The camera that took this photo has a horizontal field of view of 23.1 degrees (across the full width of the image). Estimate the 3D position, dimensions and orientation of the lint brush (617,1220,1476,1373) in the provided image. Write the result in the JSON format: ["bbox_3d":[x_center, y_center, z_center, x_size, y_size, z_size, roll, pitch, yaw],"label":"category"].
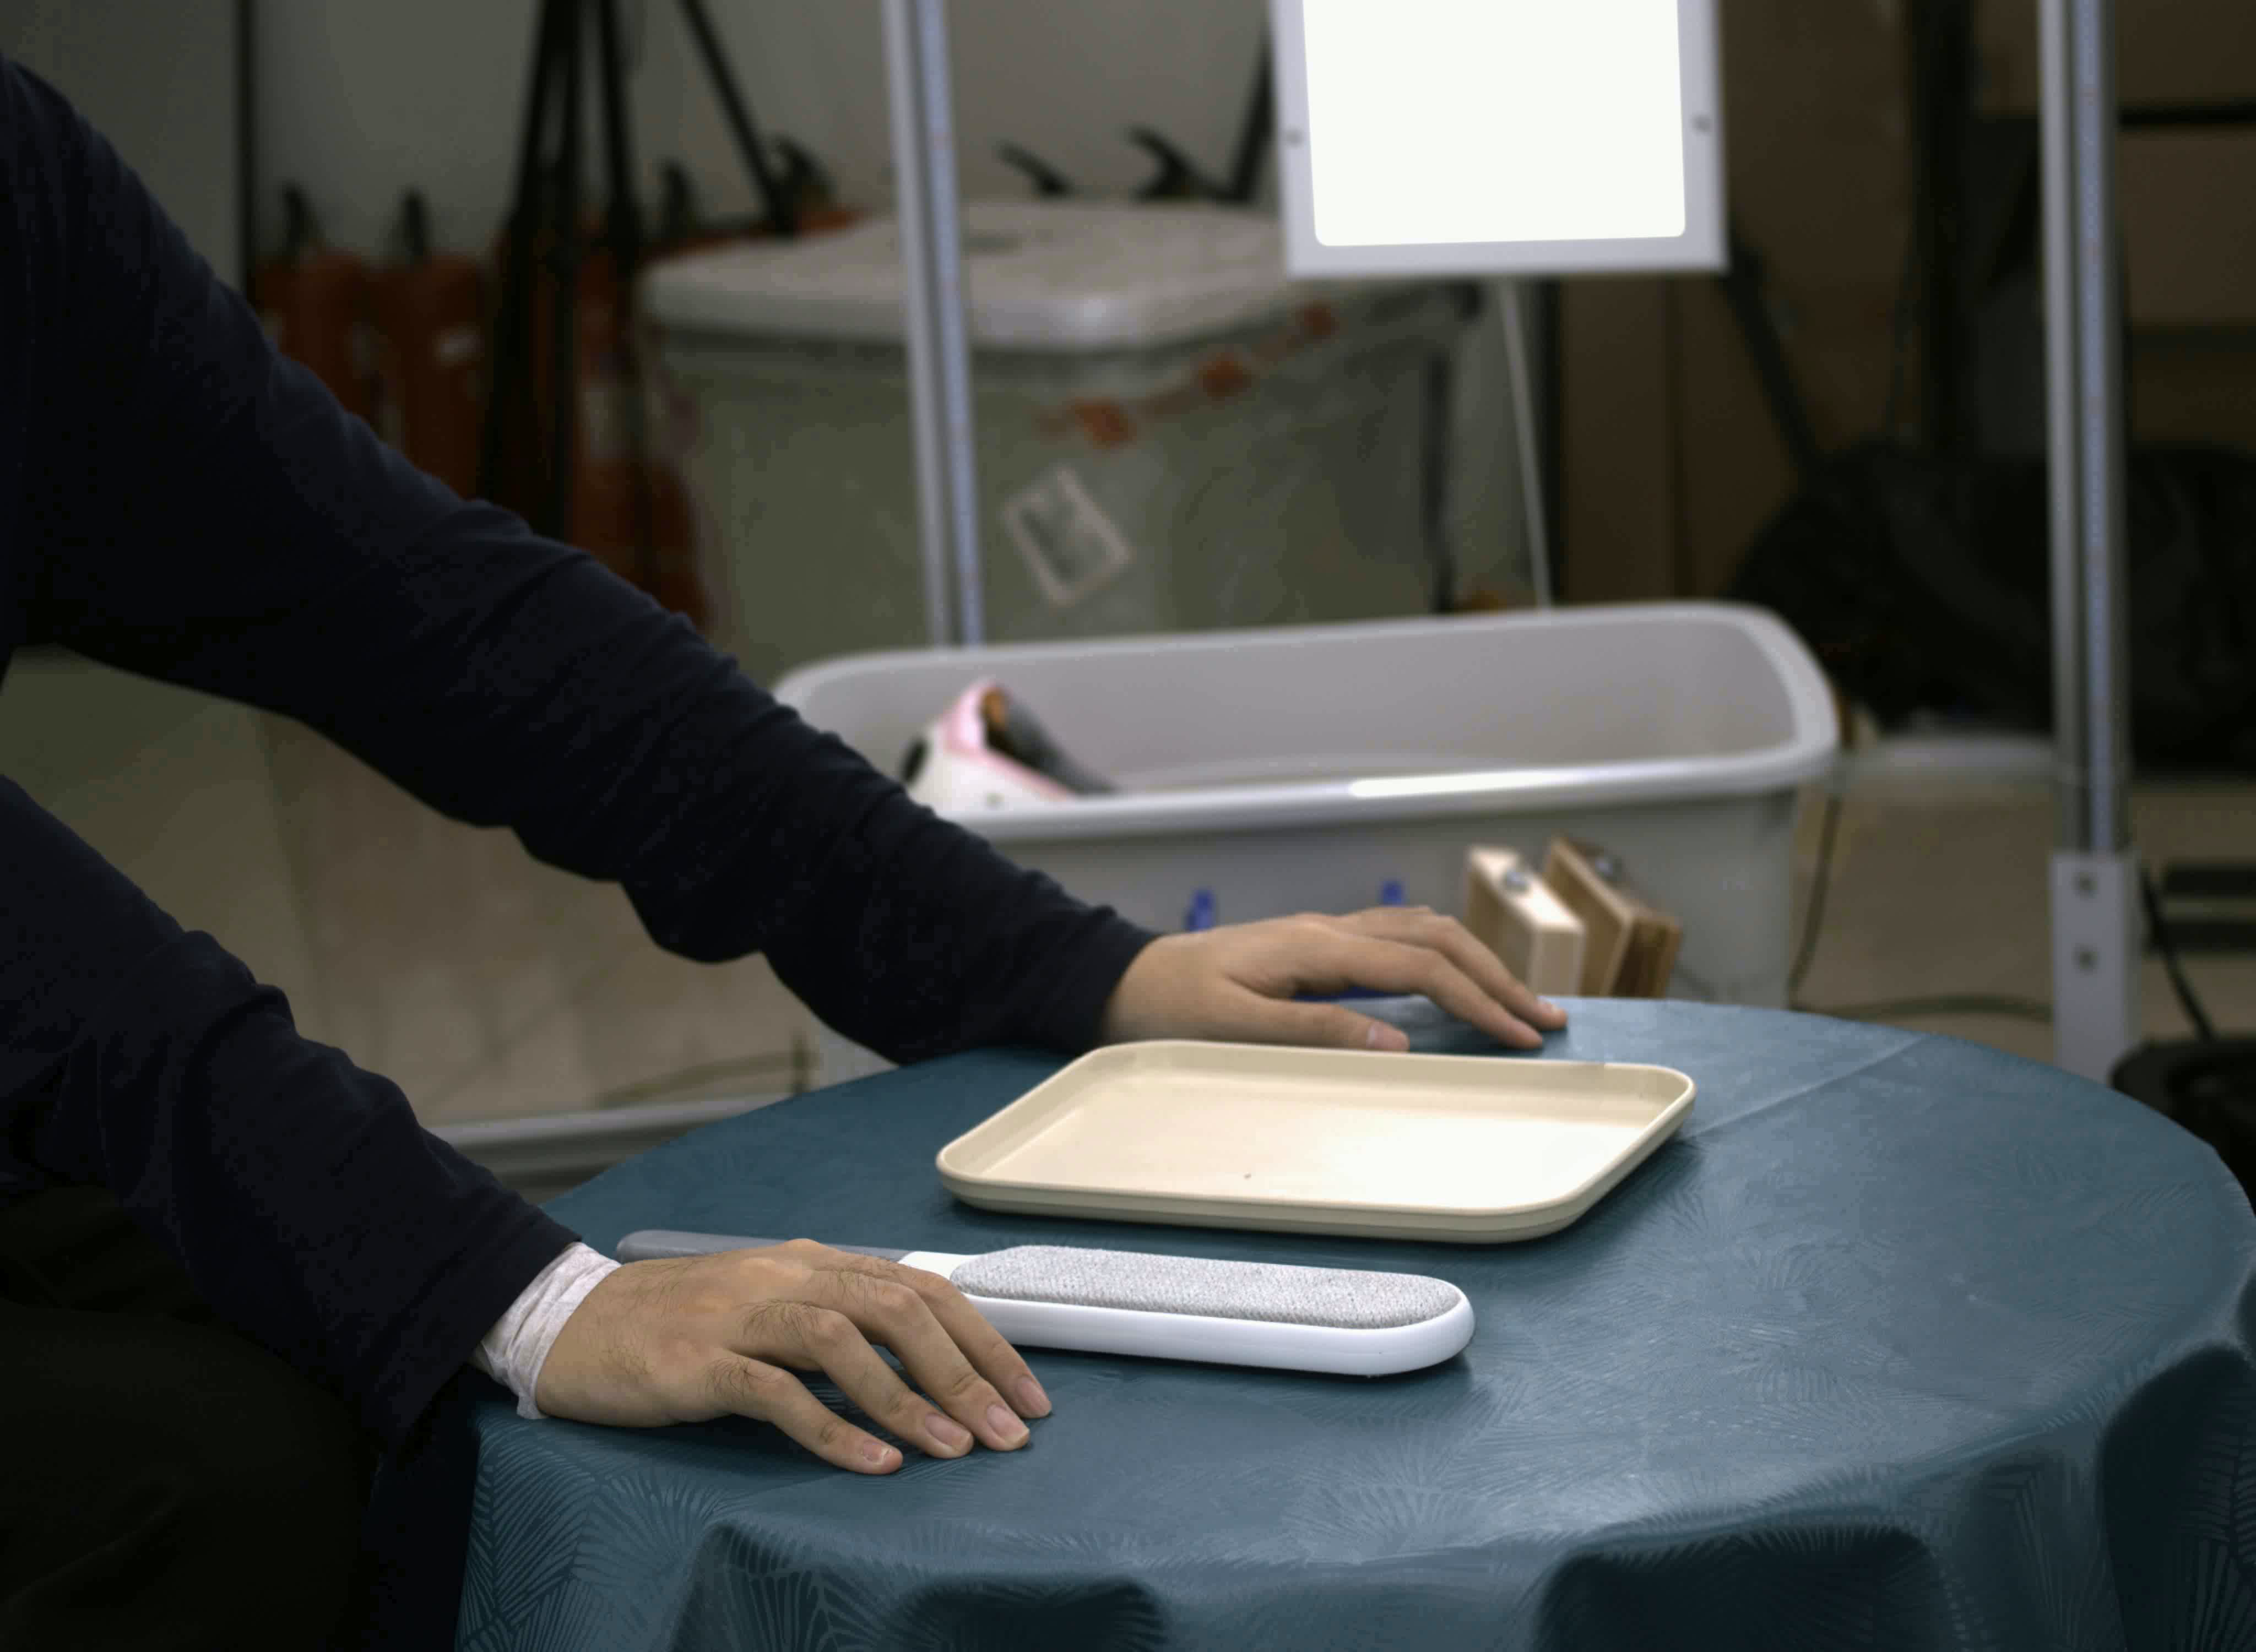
[{"bbox_3d":[-0.032,0.148,1.773,0.314,0.021,0.059,3,21,30],"label":"lint brush"}]

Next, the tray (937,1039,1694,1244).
[{"bbox_3d":[0.067,0.109,1.913,0.244,0.017,0.168,1,16,26],"label":"tray"}]
